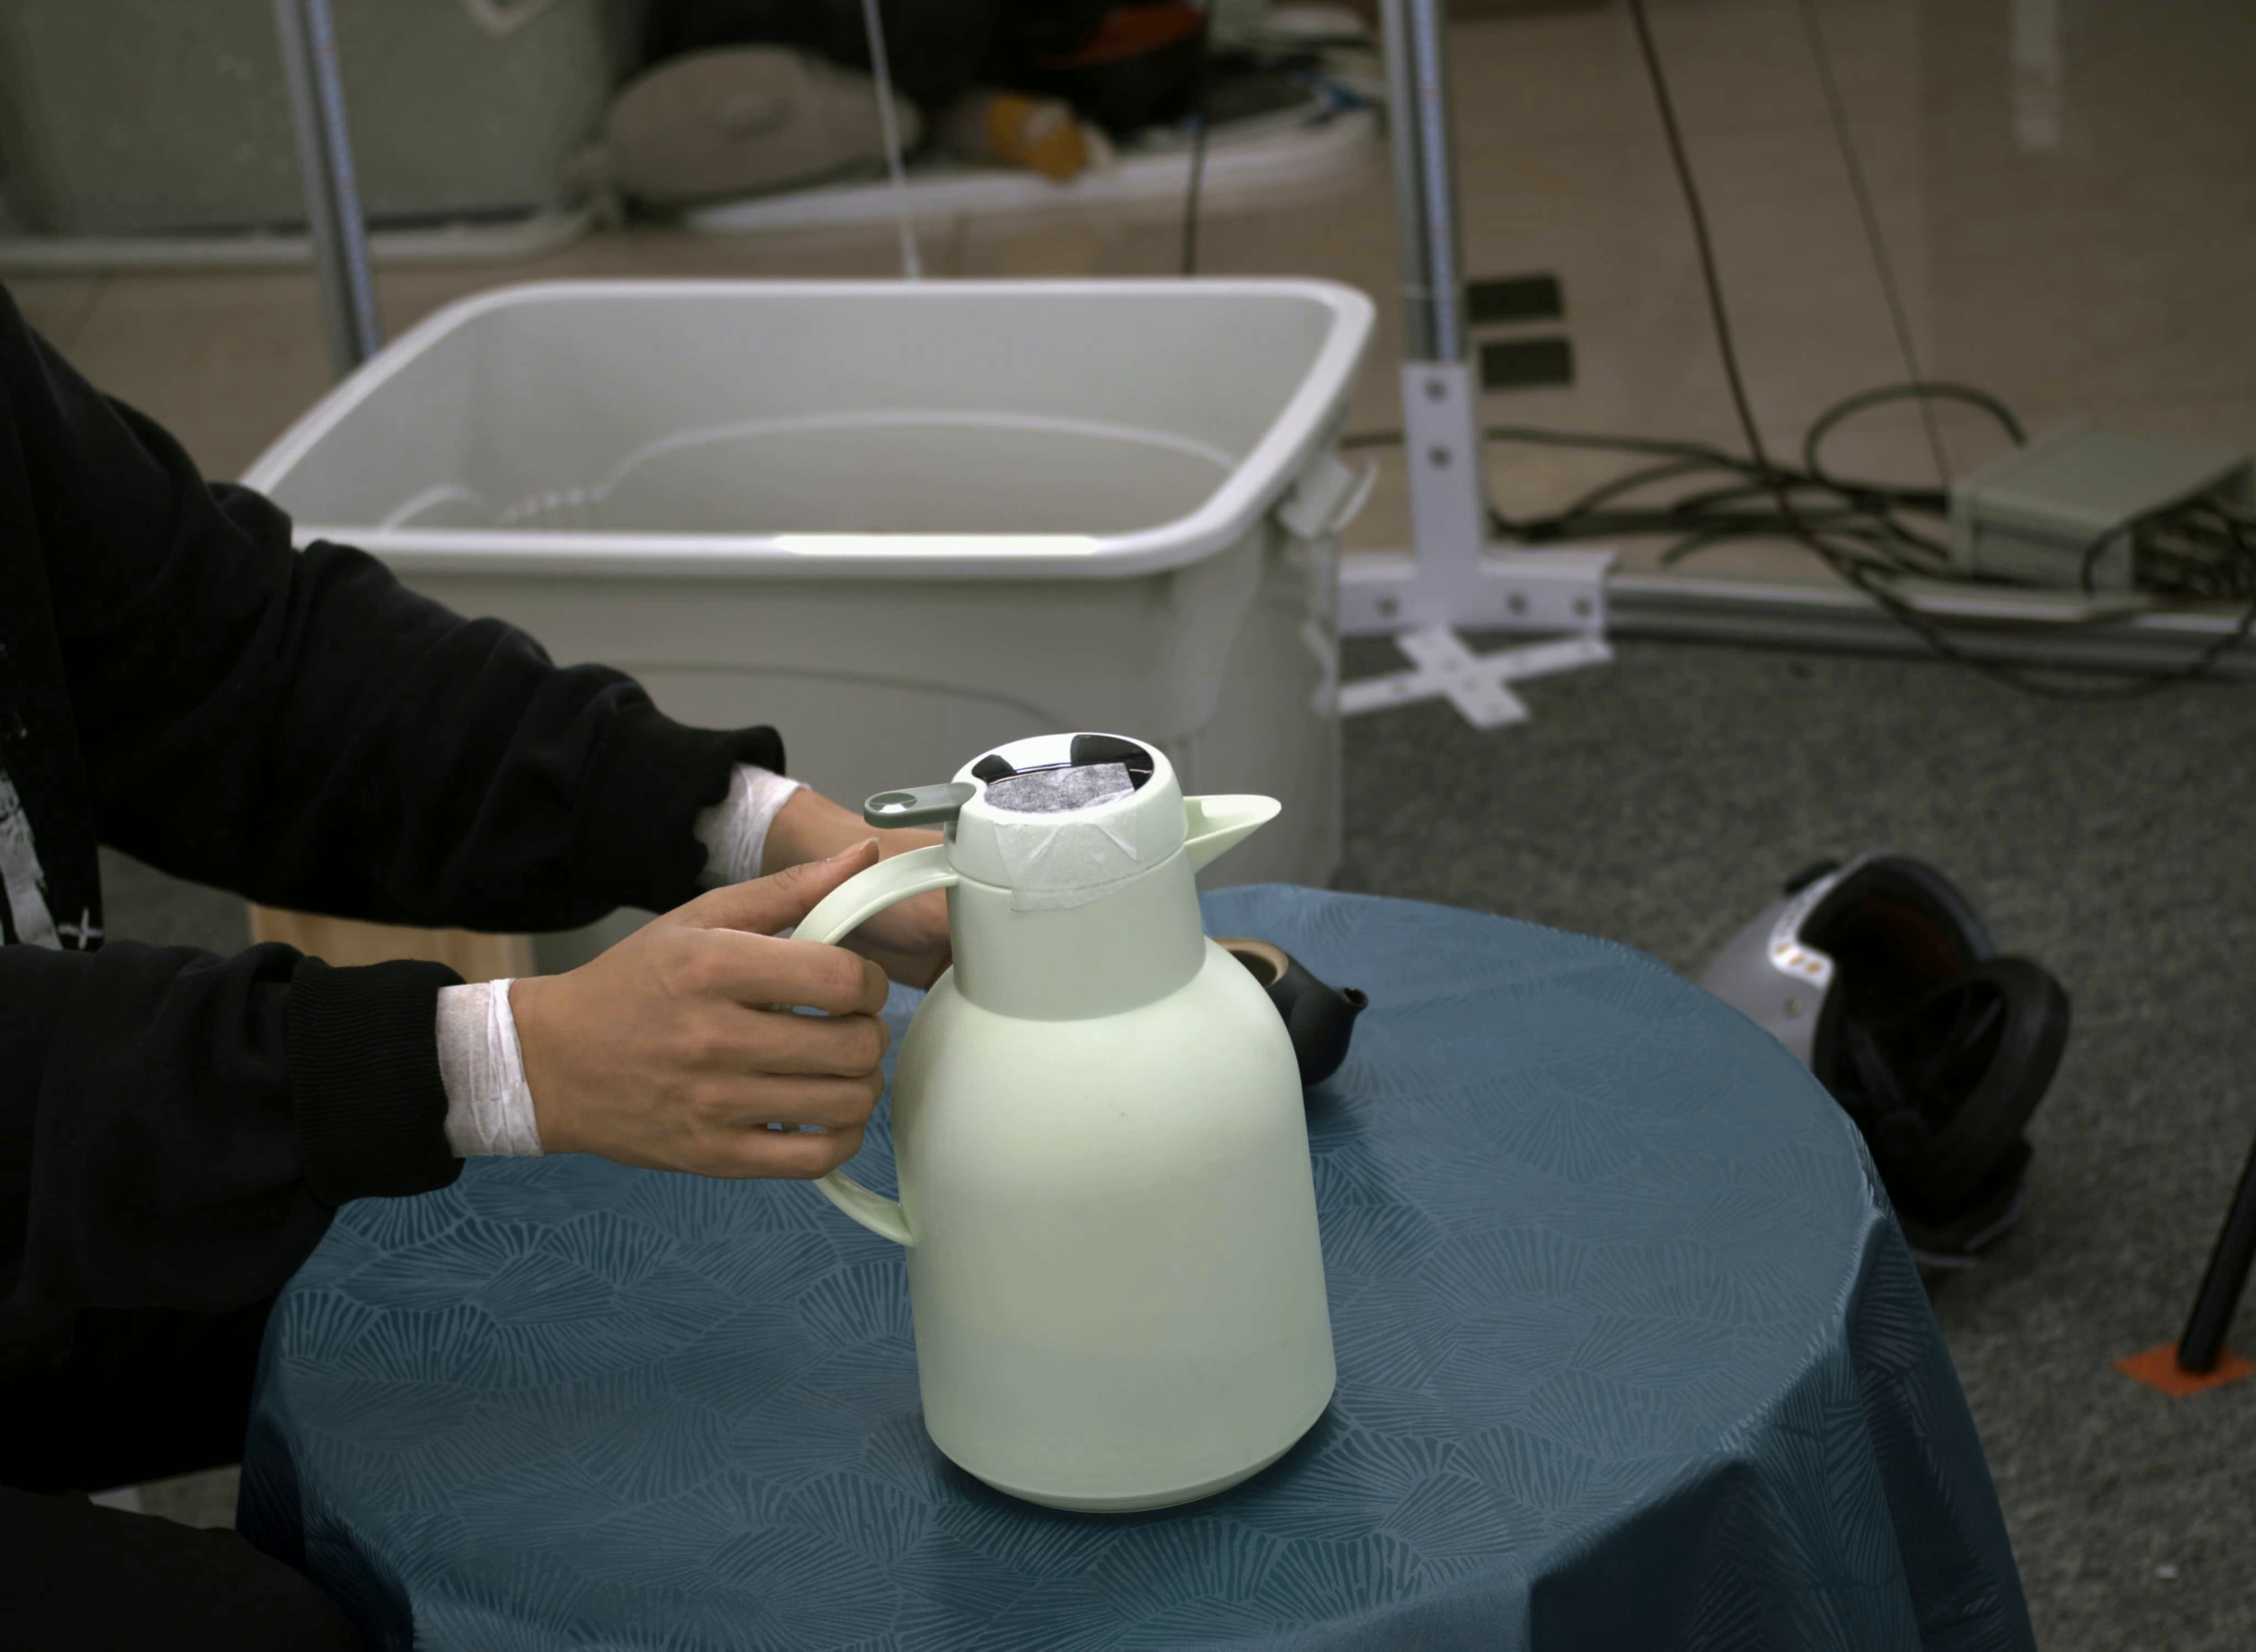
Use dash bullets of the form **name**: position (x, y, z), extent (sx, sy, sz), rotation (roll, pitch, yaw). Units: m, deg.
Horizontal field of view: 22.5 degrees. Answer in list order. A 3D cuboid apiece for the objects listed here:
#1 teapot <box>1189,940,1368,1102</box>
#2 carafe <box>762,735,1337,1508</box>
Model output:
- **teapot**: position (0.035, 0.079, 2.205), extent (0.132, 0.054, 0.090), rotation (9, 27, 28)
- **carafe**: position (-0.025, 0.099, 1.942), extent (0.186, 0.261, 0.142), rotation (-13, 28, -7)
